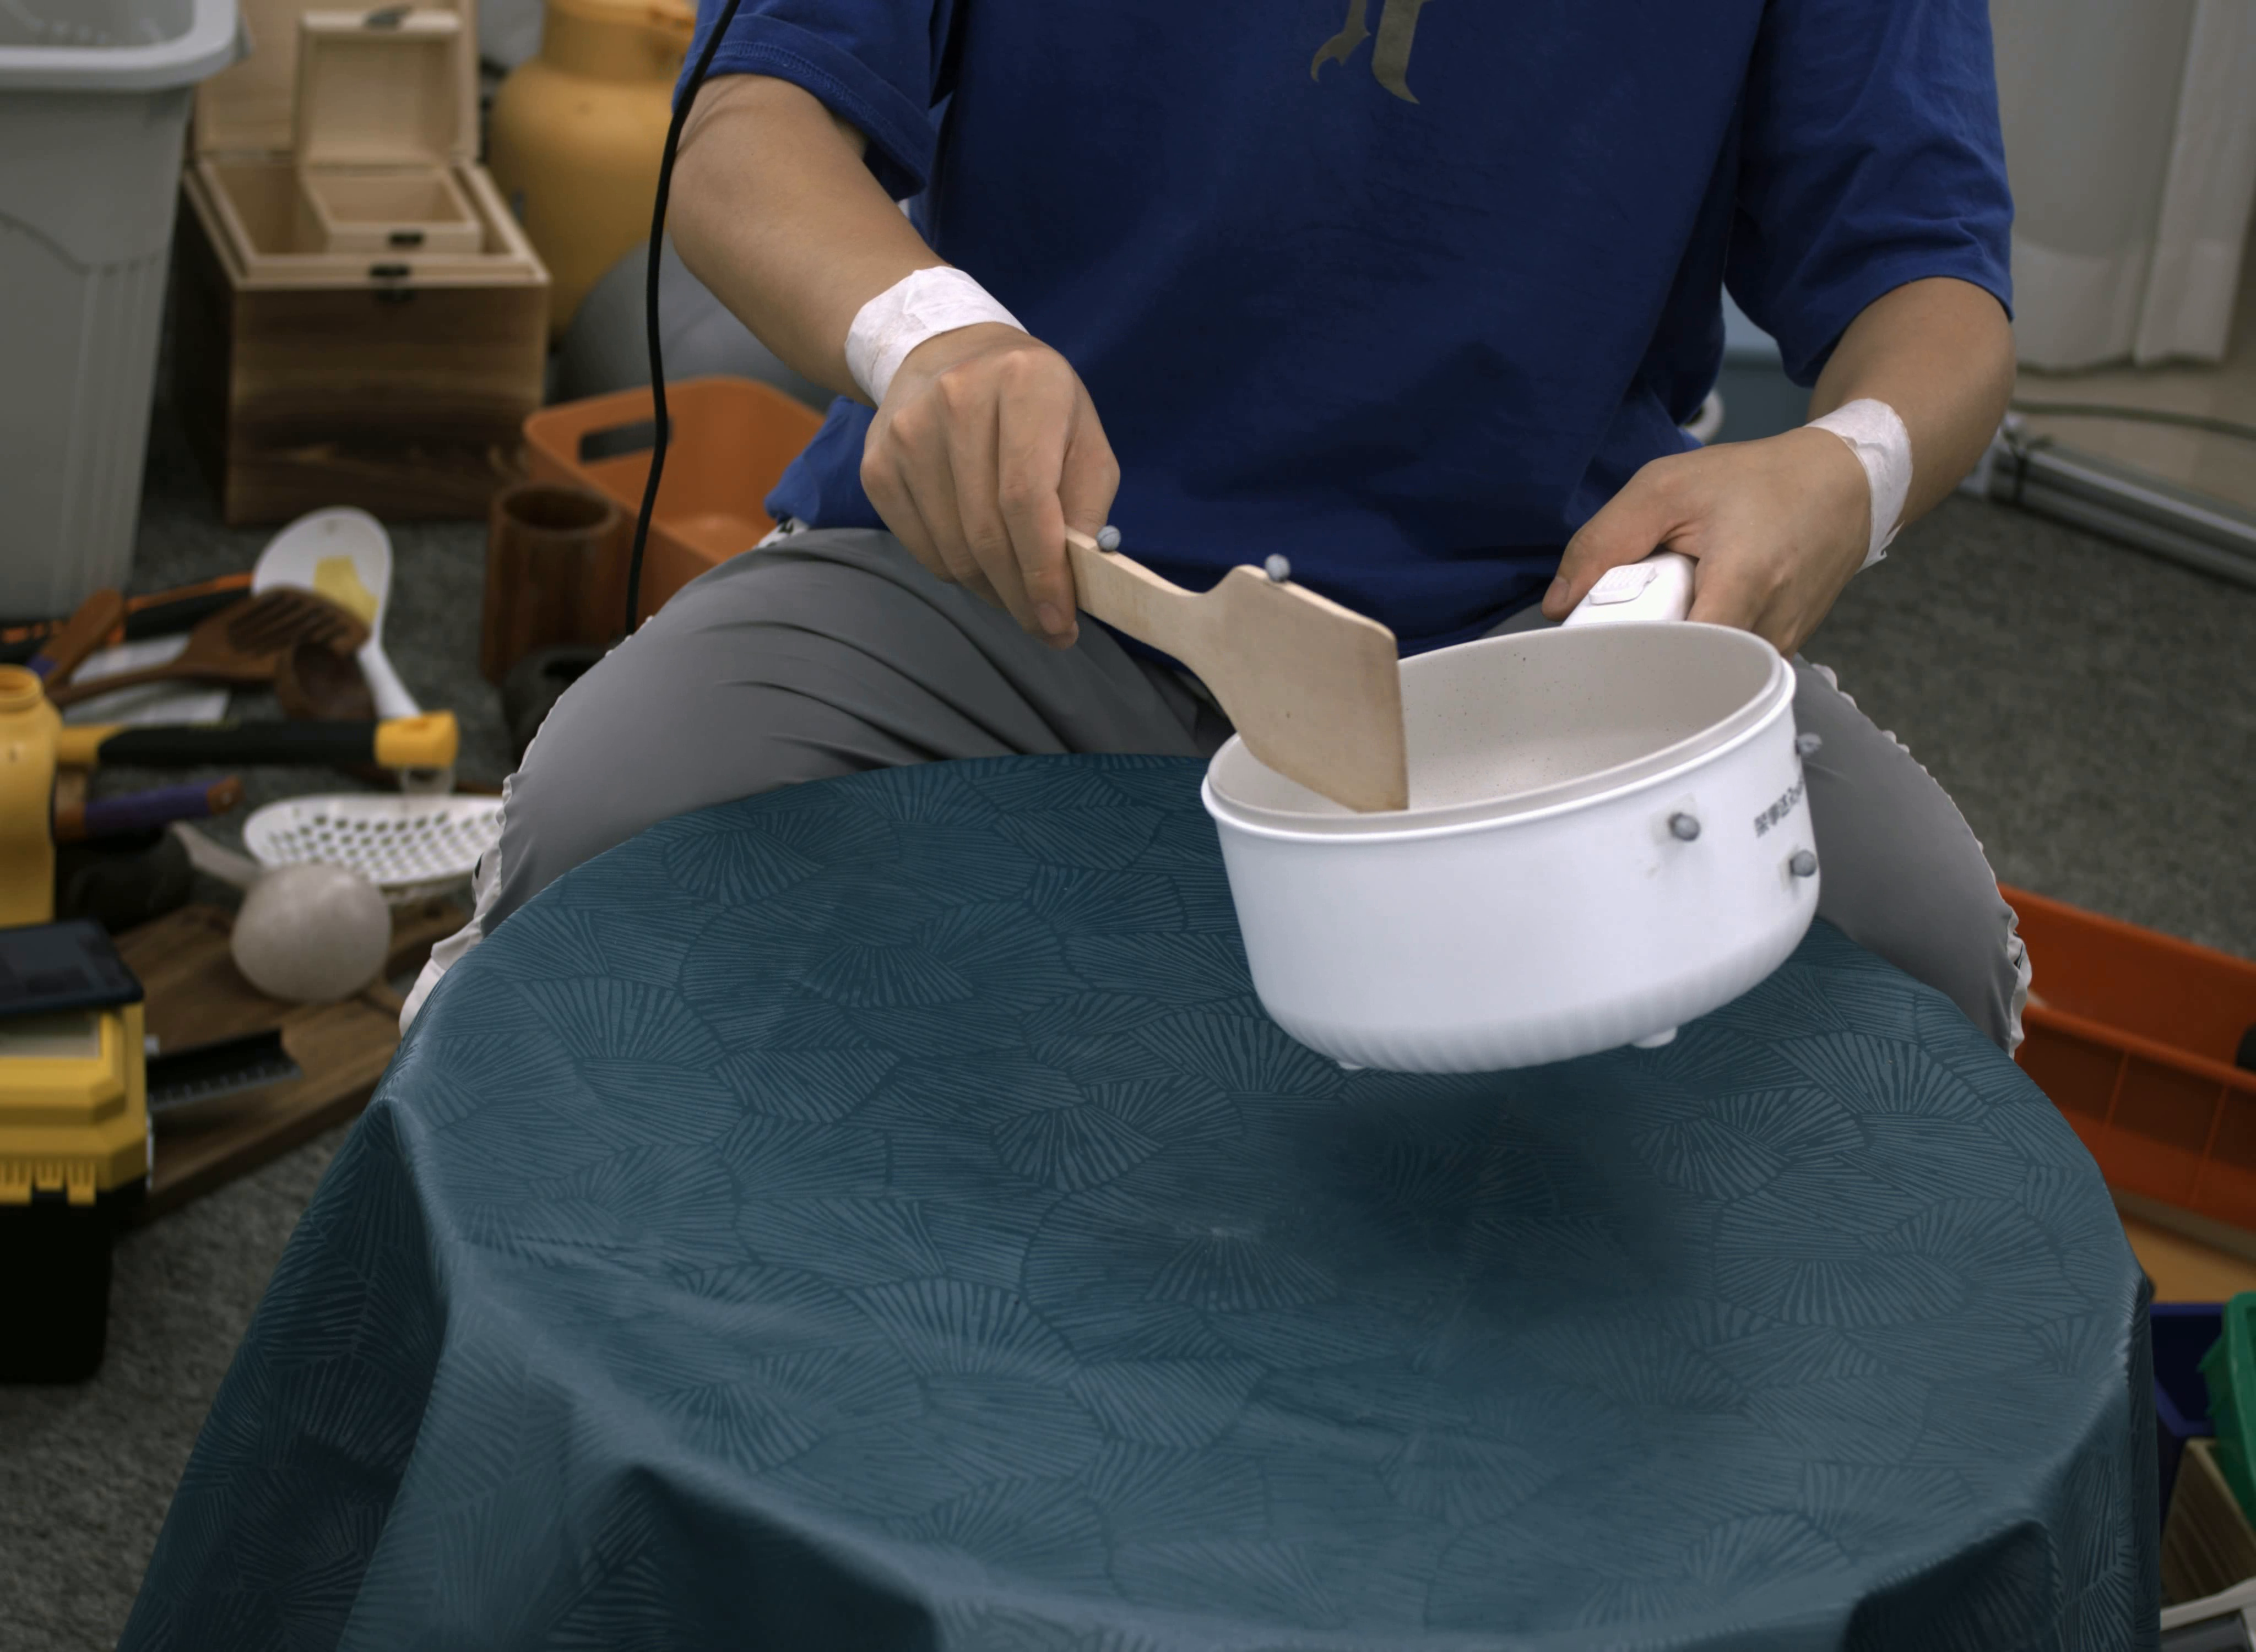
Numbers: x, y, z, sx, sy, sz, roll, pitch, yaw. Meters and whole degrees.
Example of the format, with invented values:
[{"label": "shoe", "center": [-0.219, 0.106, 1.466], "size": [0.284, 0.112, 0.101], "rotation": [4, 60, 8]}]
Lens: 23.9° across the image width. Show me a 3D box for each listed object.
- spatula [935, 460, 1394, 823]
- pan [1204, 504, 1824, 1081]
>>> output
[{"label": "spatula", "center": [0.005, -0.076, 1.796], "size": [0.010, 0.072, 0.295], "rotation": [-19, 27, -25]}, {"label": "pan", "center": [0.159, -0.015, 1.850], "size": [0.201, 0.102, 0.355], "rotation": [-8, 17, 24]}]
